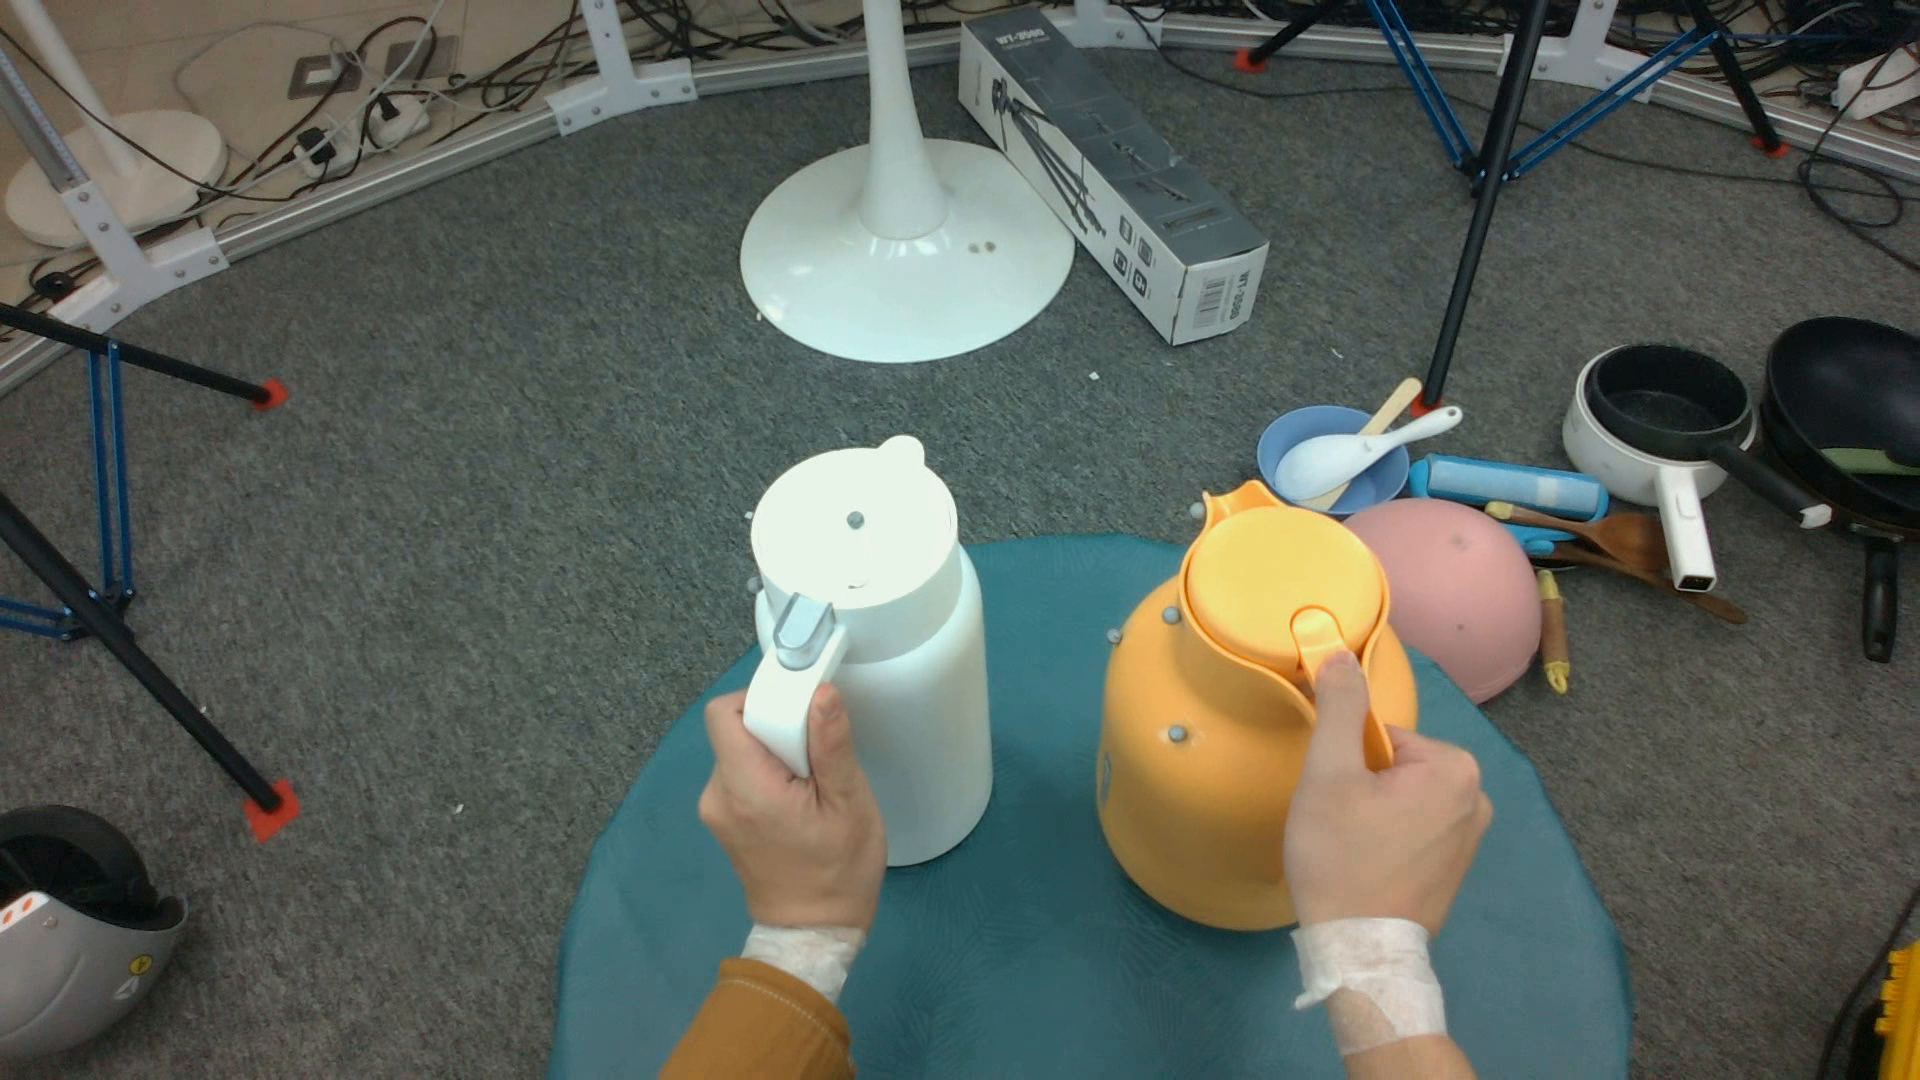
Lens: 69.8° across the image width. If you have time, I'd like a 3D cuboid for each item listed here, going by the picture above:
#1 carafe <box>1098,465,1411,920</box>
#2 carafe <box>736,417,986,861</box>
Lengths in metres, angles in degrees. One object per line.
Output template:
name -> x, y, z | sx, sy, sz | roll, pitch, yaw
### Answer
carafe -> 0.158, 0.100, 0.725 | 0.163, 0.259, 0.203 | -14, 51, -4
carafe -> -0.053, 0.082, 0.746 | 0.124, 0.267, 0.173 | 16, 55, 12
